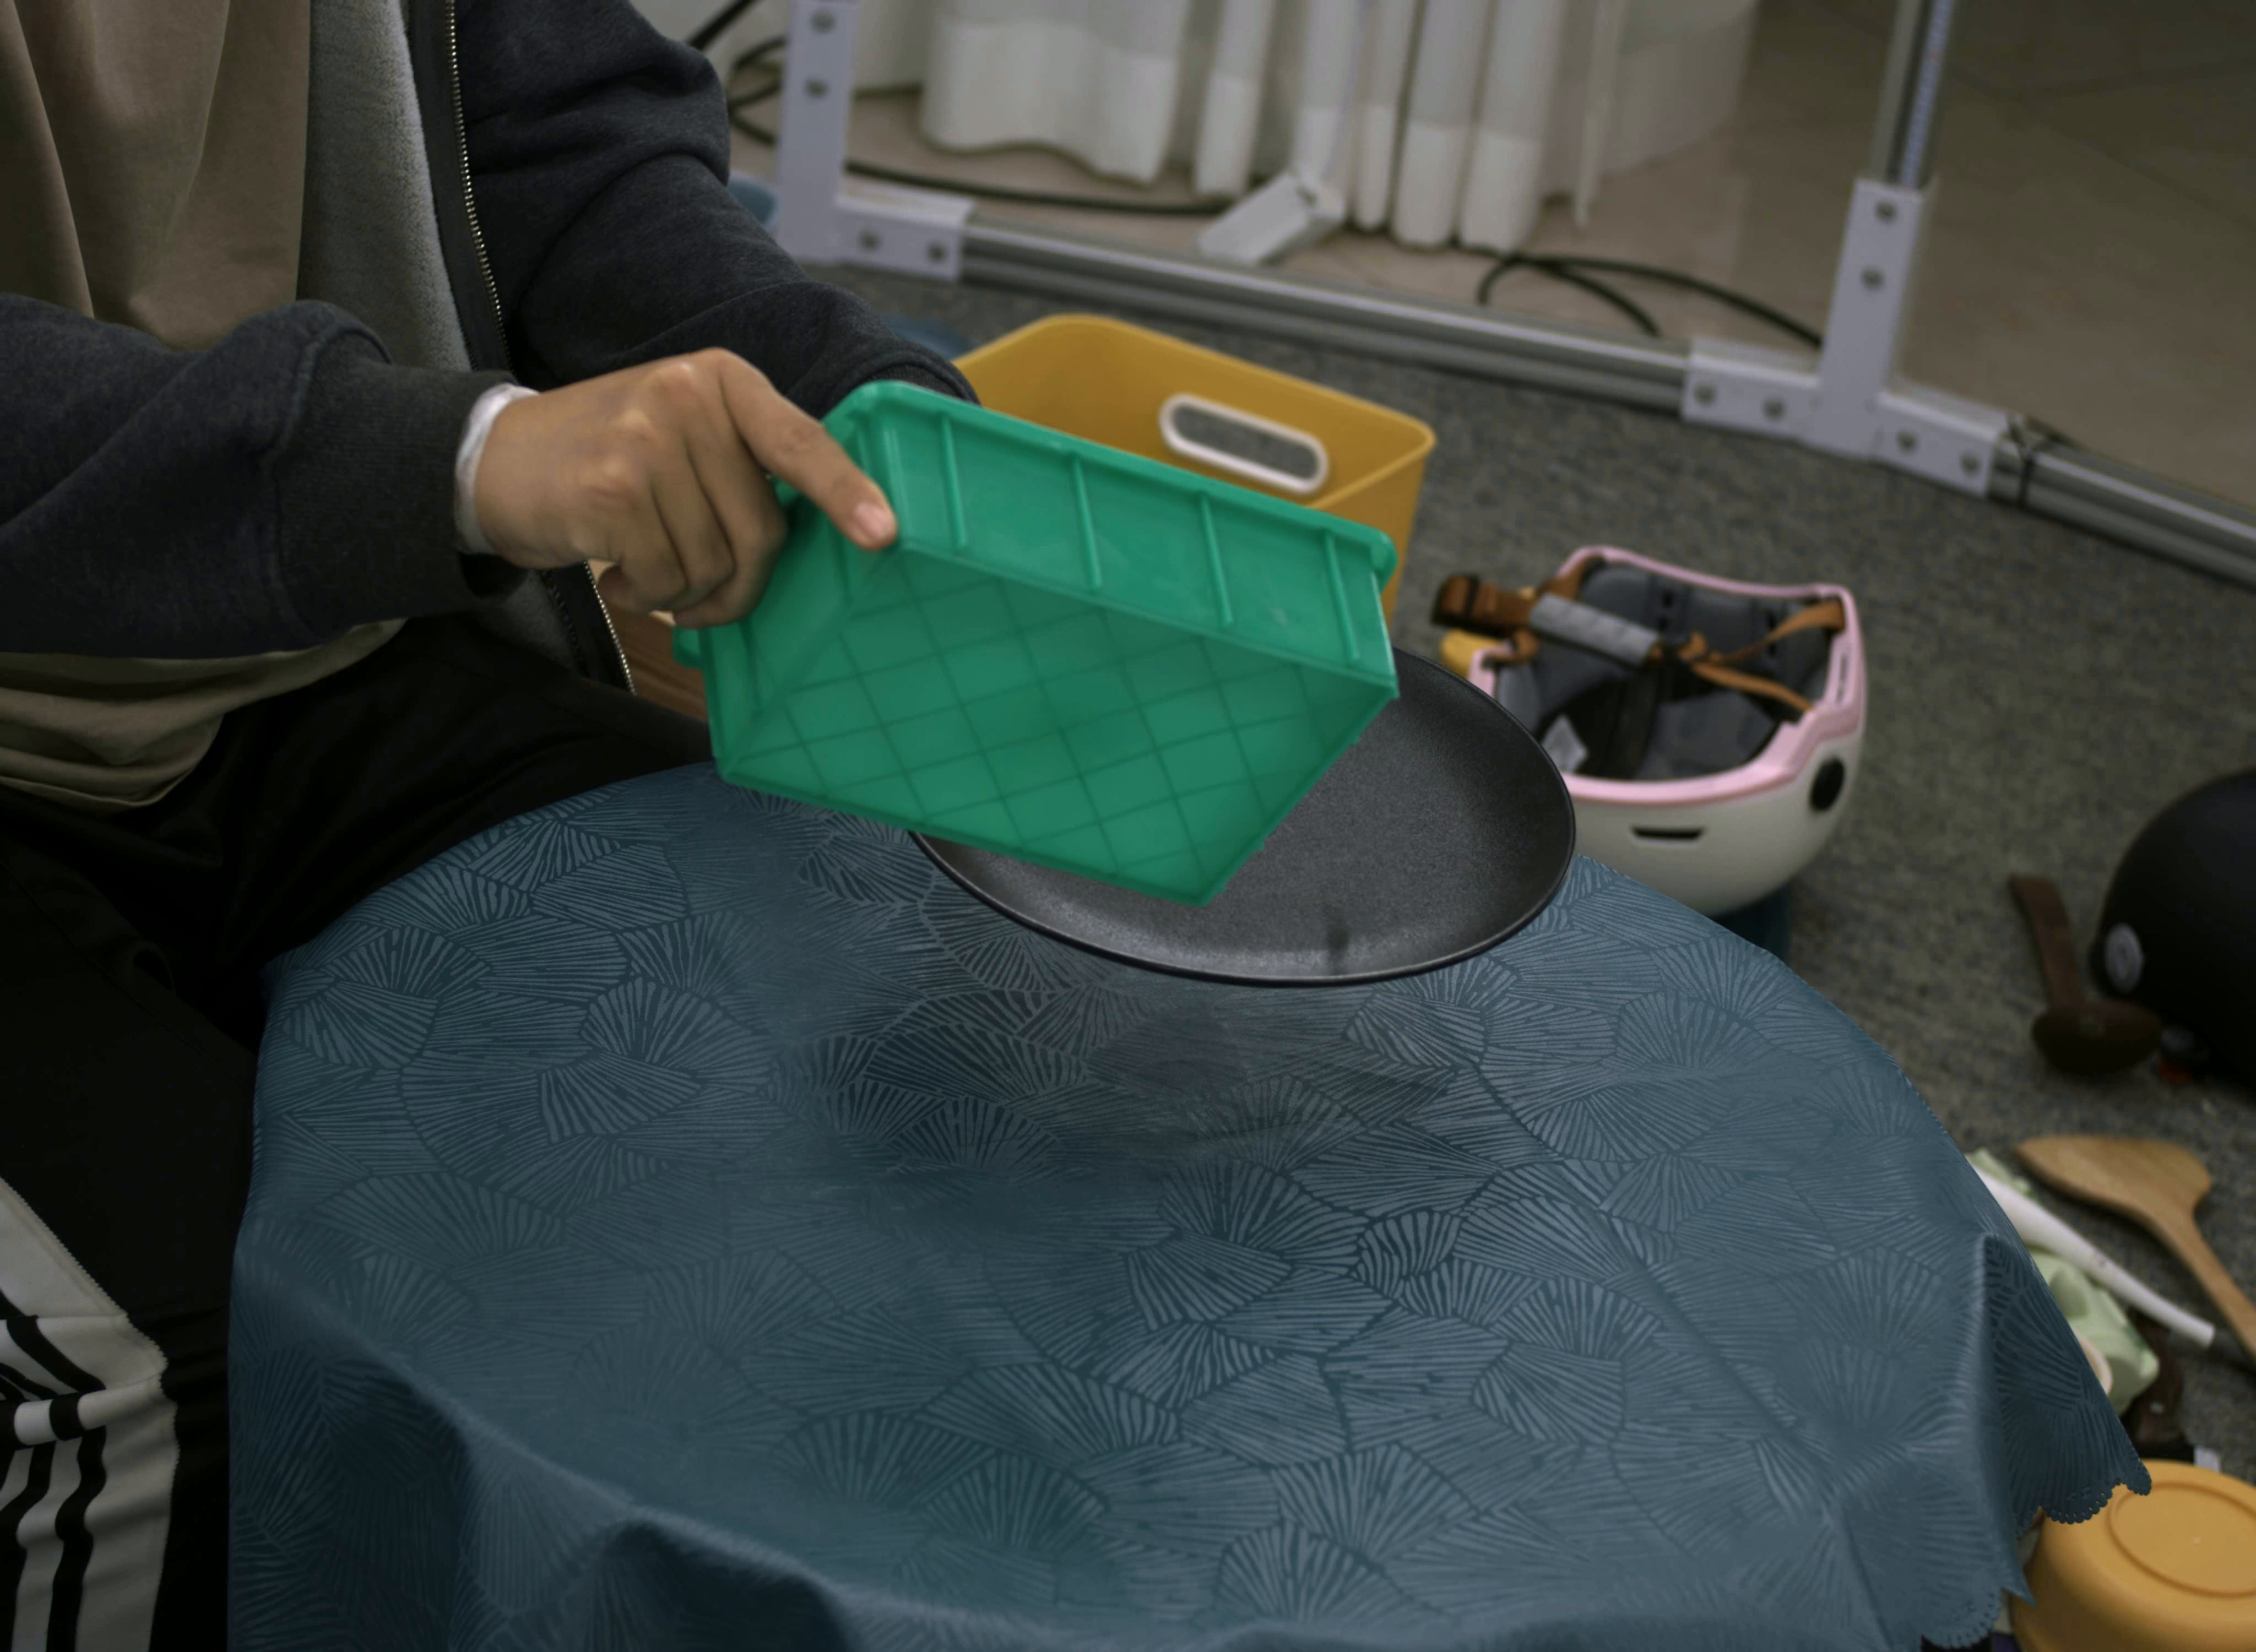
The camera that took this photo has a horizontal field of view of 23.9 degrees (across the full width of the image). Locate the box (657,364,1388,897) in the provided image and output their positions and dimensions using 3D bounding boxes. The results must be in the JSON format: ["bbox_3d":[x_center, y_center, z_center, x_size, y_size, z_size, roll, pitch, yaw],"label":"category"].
[{"bbox_3d":[-0.029,-0.054,1.658,0.208,0.138,0.066,15,43,-30],"label":"box"}]

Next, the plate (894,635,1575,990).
[{"bbox_3d":[0.034,-0.008,1.863,0.243,0.023,0.246,5,33,-3],"label":"plate"}]
